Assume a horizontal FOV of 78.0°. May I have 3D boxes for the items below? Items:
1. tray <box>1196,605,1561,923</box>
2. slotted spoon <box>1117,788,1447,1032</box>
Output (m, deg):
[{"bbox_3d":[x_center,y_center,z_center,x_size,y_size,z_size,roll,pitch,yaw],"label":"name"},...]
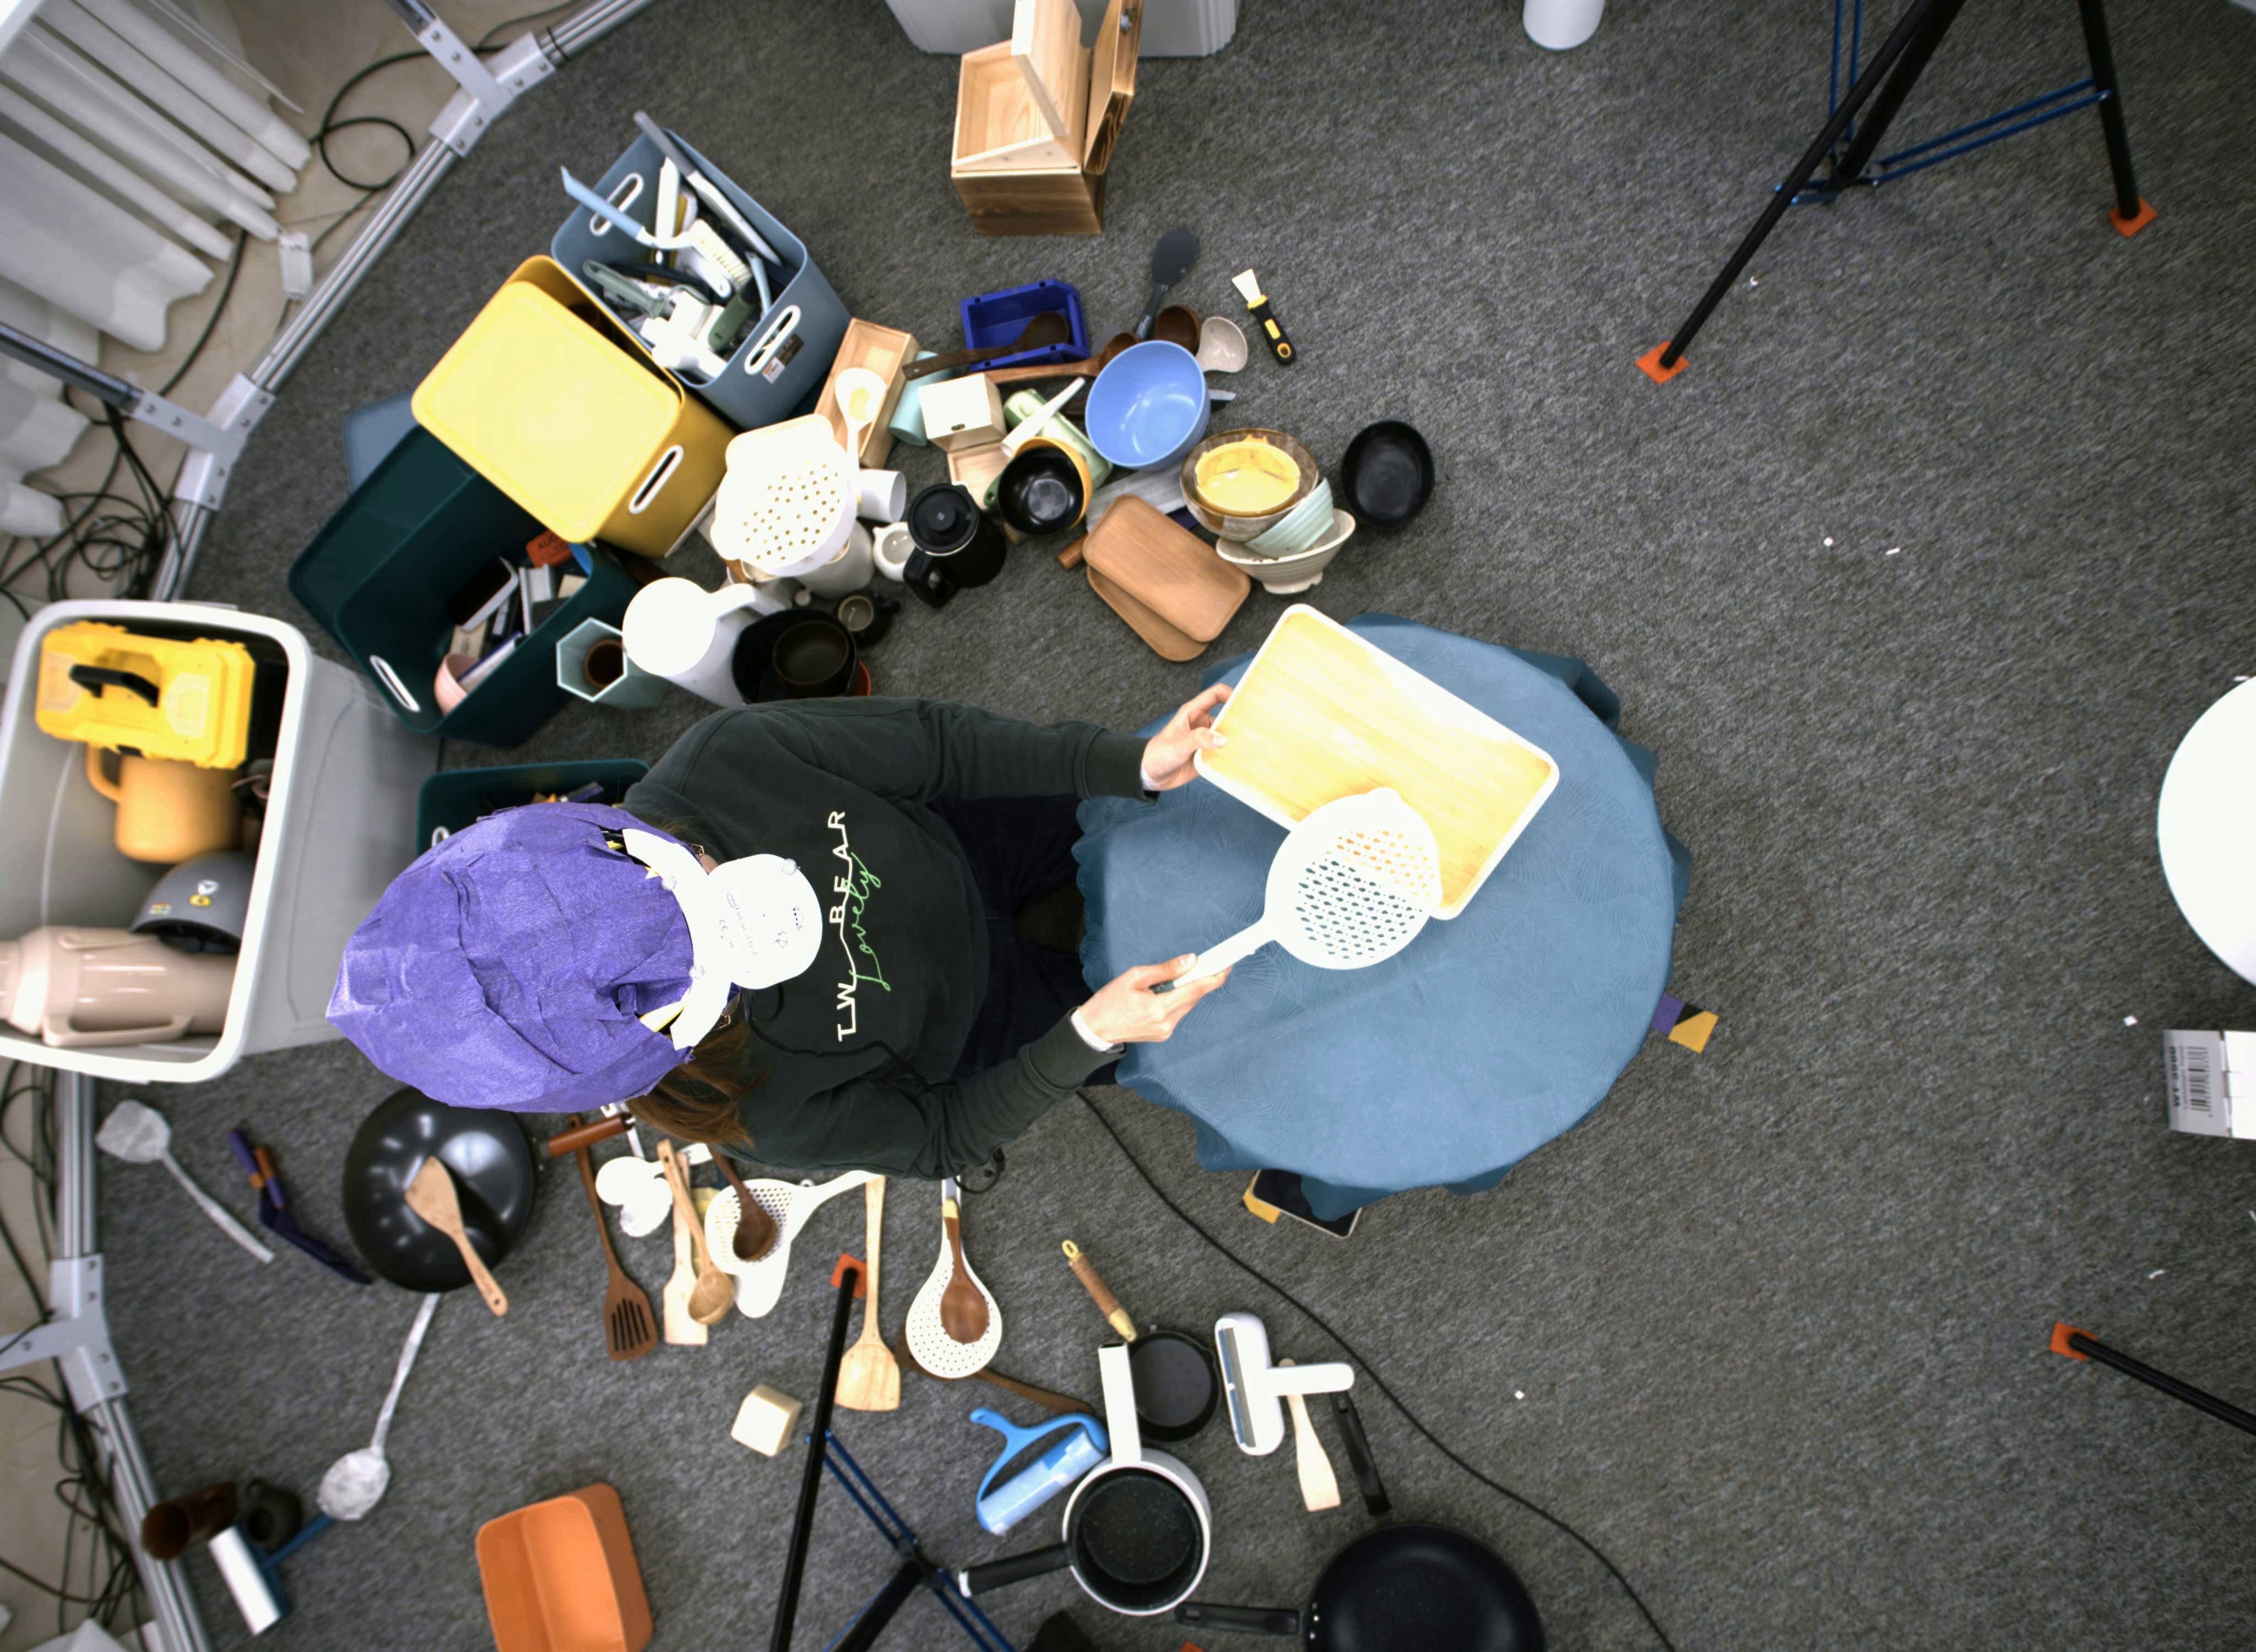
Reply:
[{"bbox_3d":[0.234,-0.057,1.303,0.300,0.027,0.195,31,113,-3],"label":"tray"},{"bbox_3d":[0.132,0.102,1.296,0.362,0.076,0.165,-27,52,14],"label":"slotted spoon"}]
